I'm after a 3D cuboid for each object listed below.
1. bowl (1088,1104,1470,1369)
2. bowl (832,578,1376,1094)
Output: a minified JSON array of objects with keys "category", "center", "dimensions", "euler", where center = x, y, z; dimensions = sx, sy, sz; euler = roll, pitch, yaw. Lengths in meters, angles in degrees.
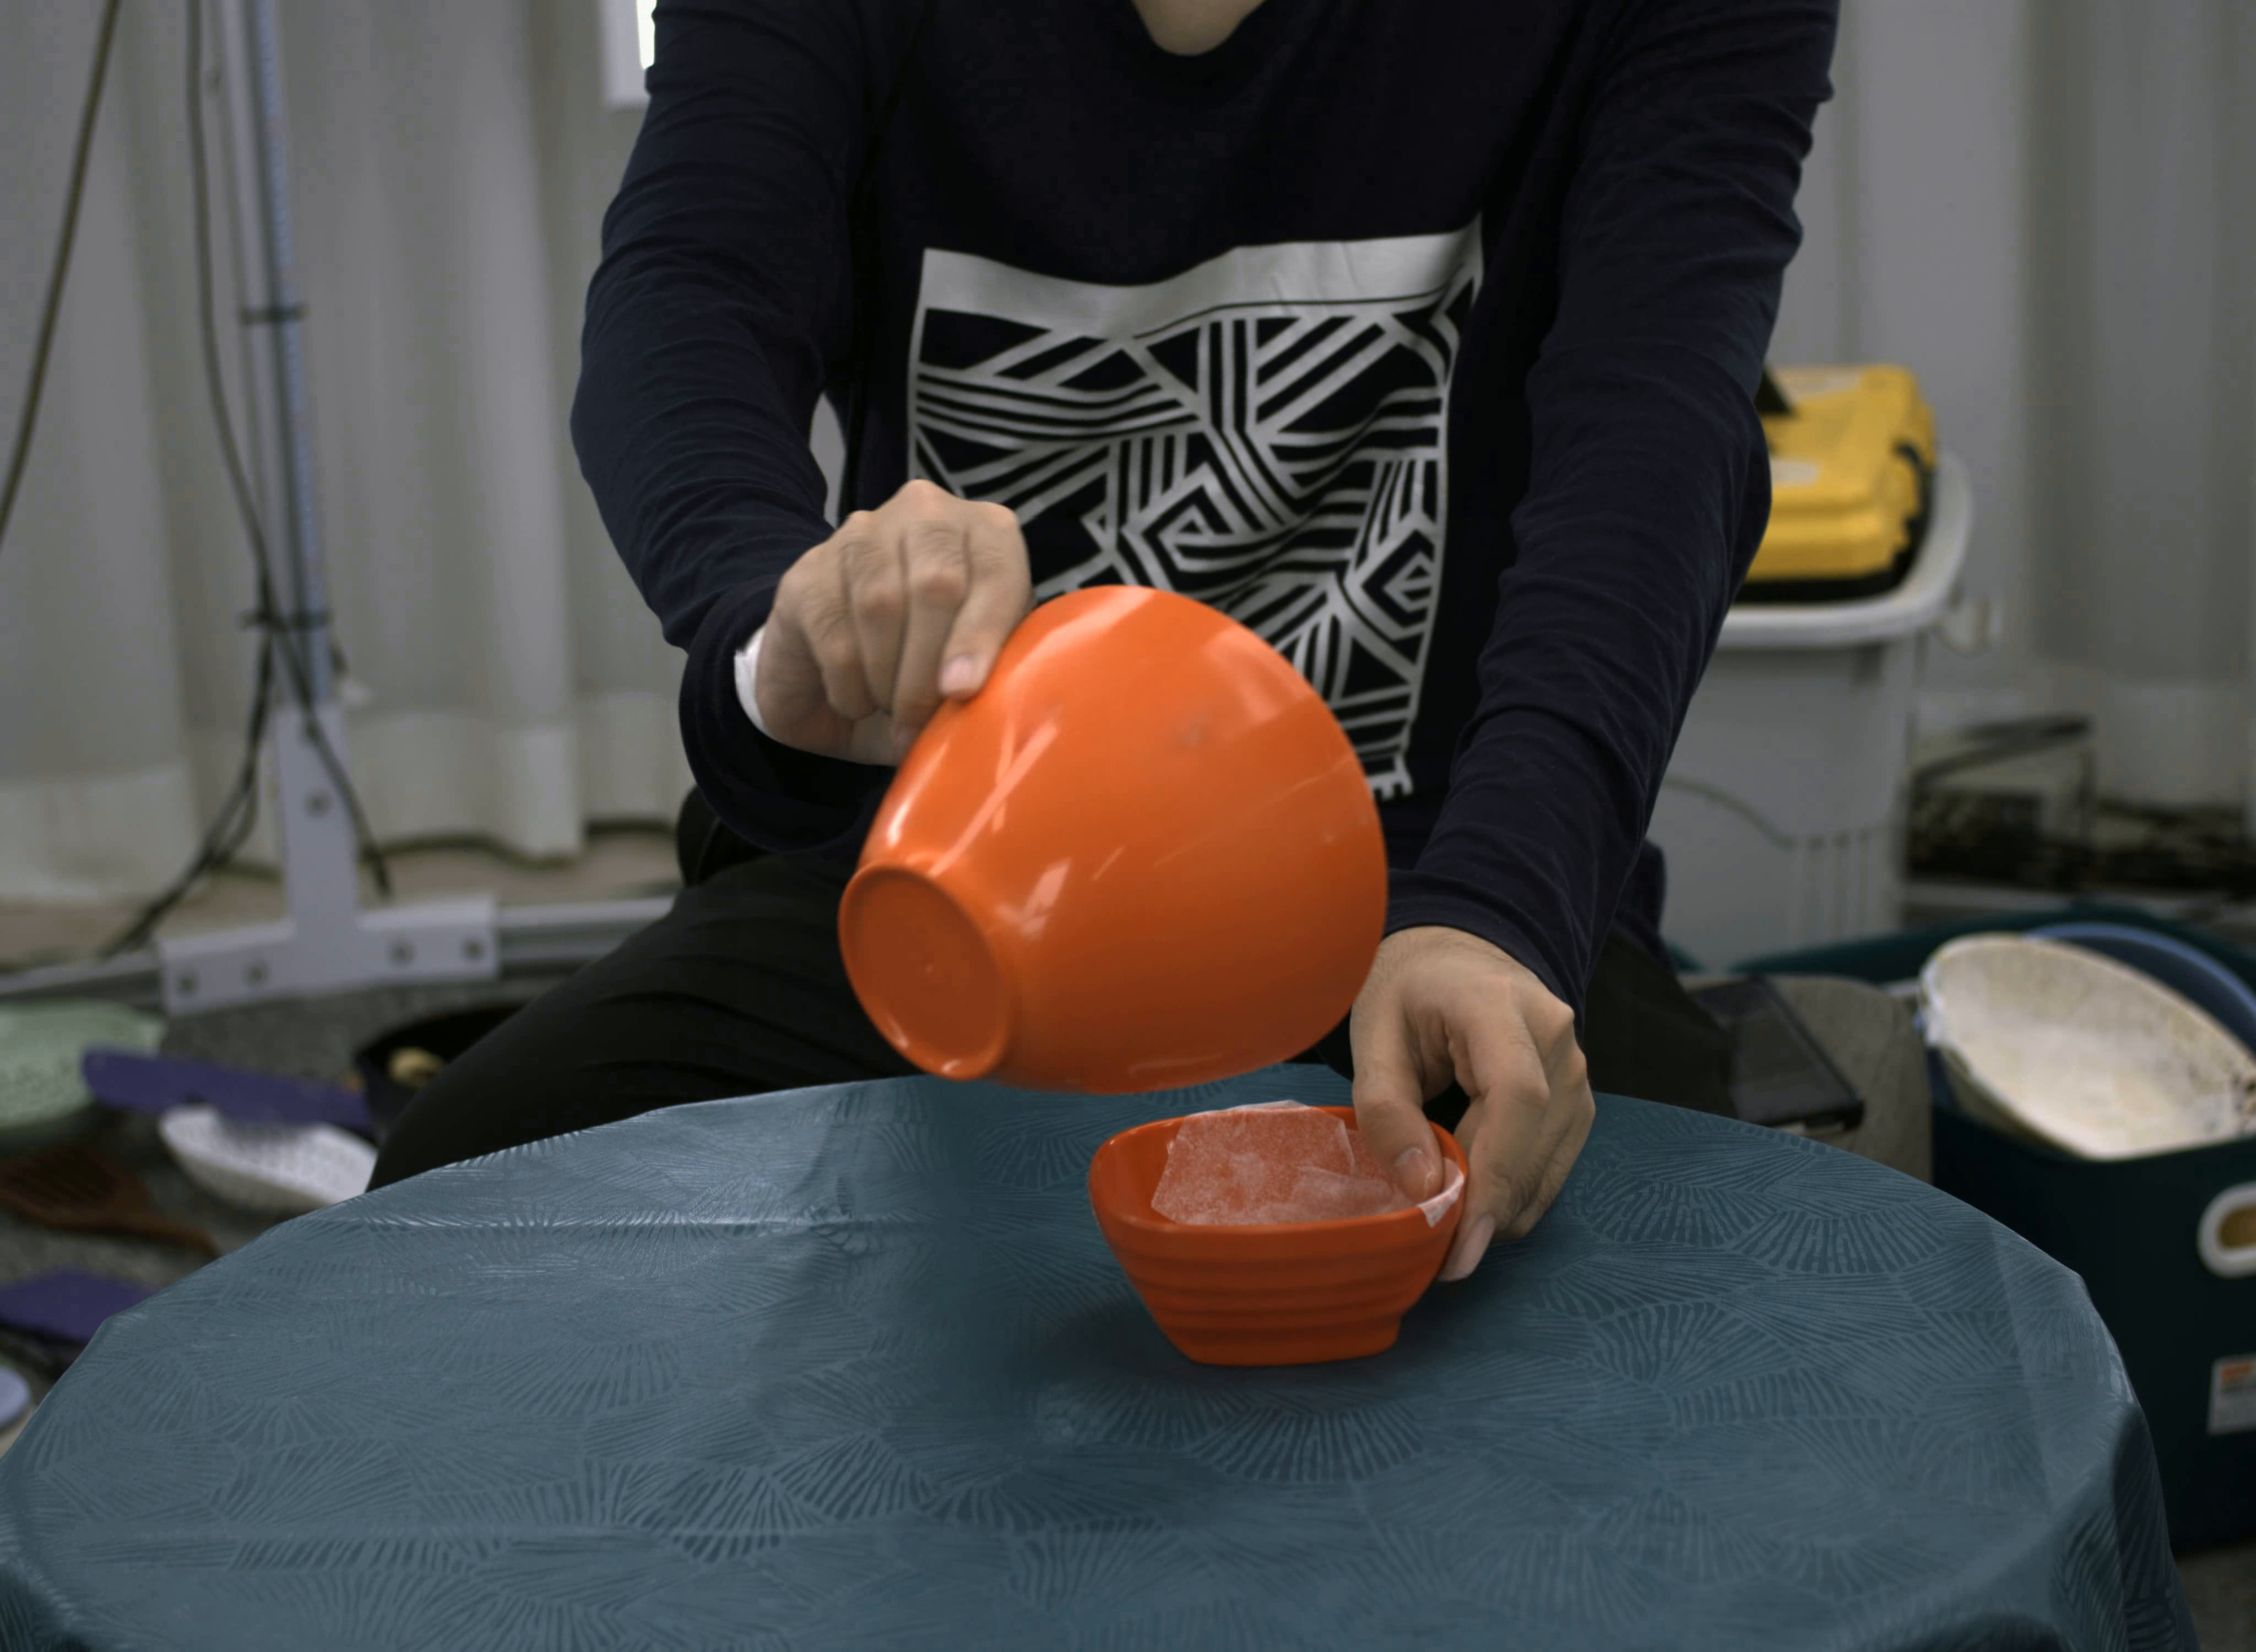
[{"category":"bowl","center":[0.045,0.121,1.585],"dimensions":[0.118,0.051,0.120],"euler":[-4,15,1]},{"category":"bowl","center":[-0.018,0.017,1.529],"dimensions":[0.149,0.147,0.105],"euler":[11,33,43]}]
